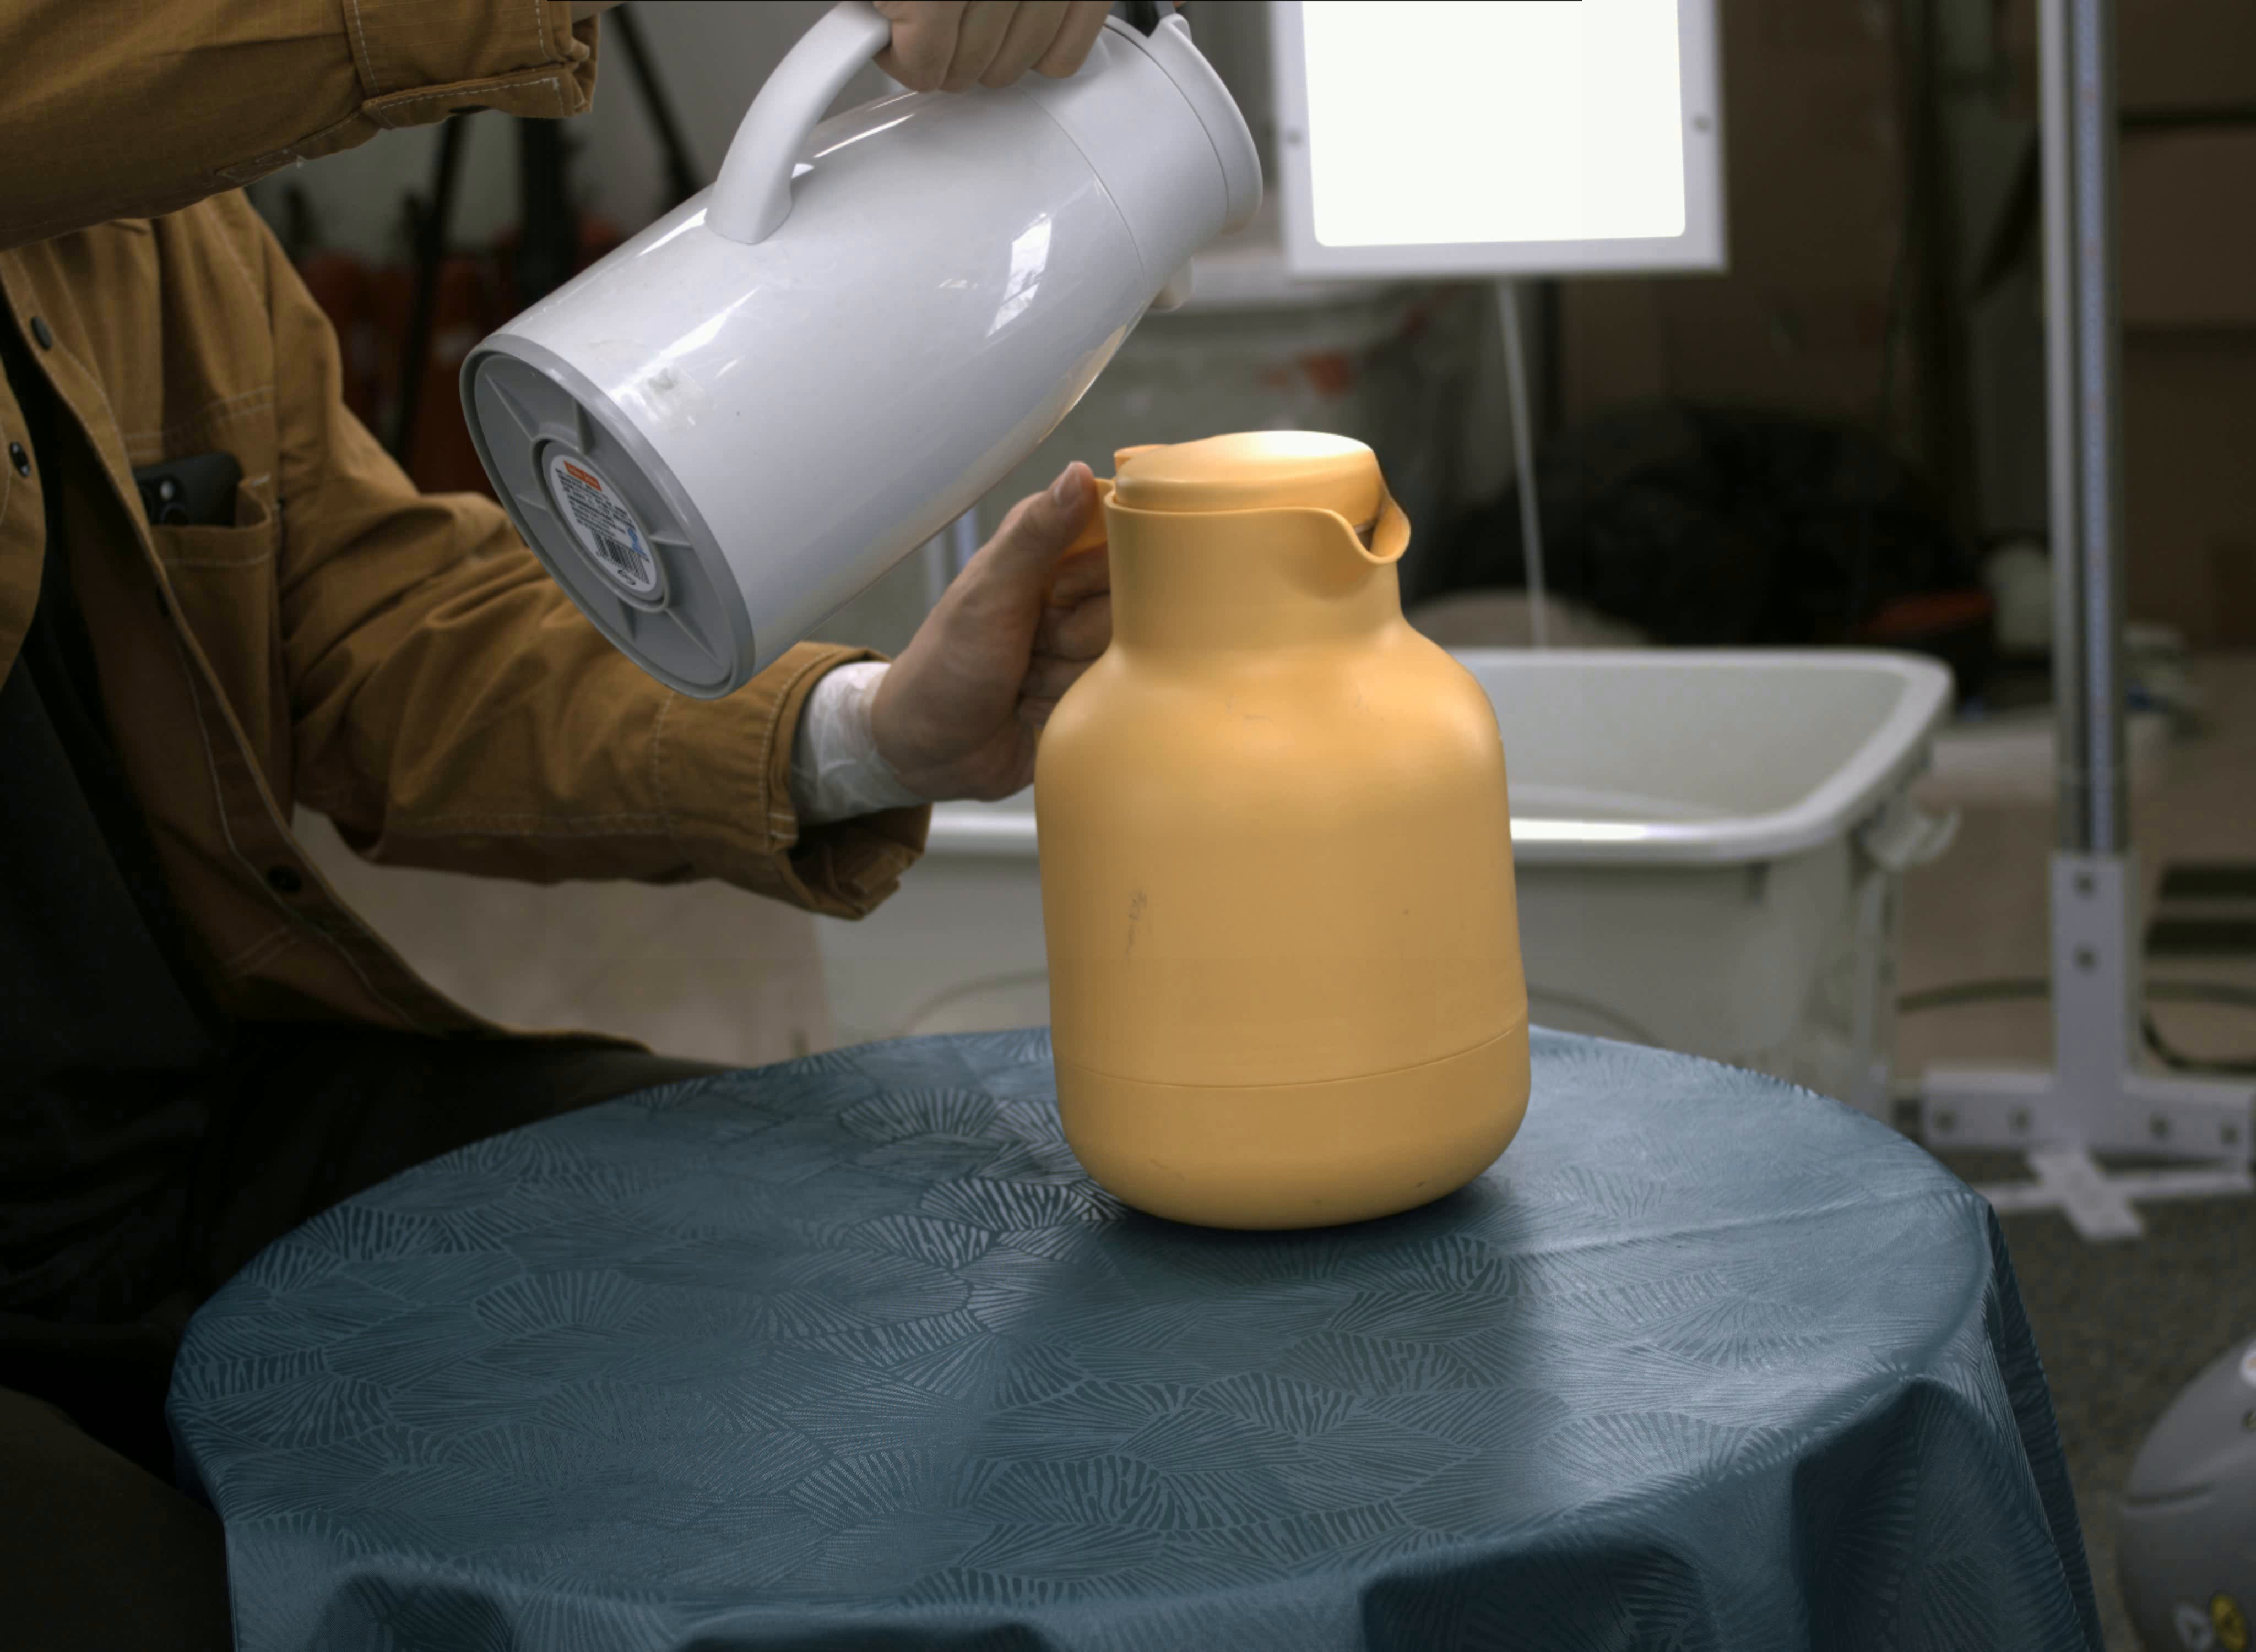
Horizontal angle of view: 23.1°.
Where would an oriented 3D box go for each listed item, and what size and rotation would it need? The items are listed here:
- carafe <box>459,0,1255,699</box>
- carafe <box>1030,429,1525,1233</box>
[{"bbox_3d":[-0.077,-0.177,1.714,0.245,0.167,0.135,-39,46,-20],"label":"carafe"},{"bbox_3d":[0.039,-0.005,1.877,0.159,0.261,0.206,-12,16,-31],"label":"carafe"}]
